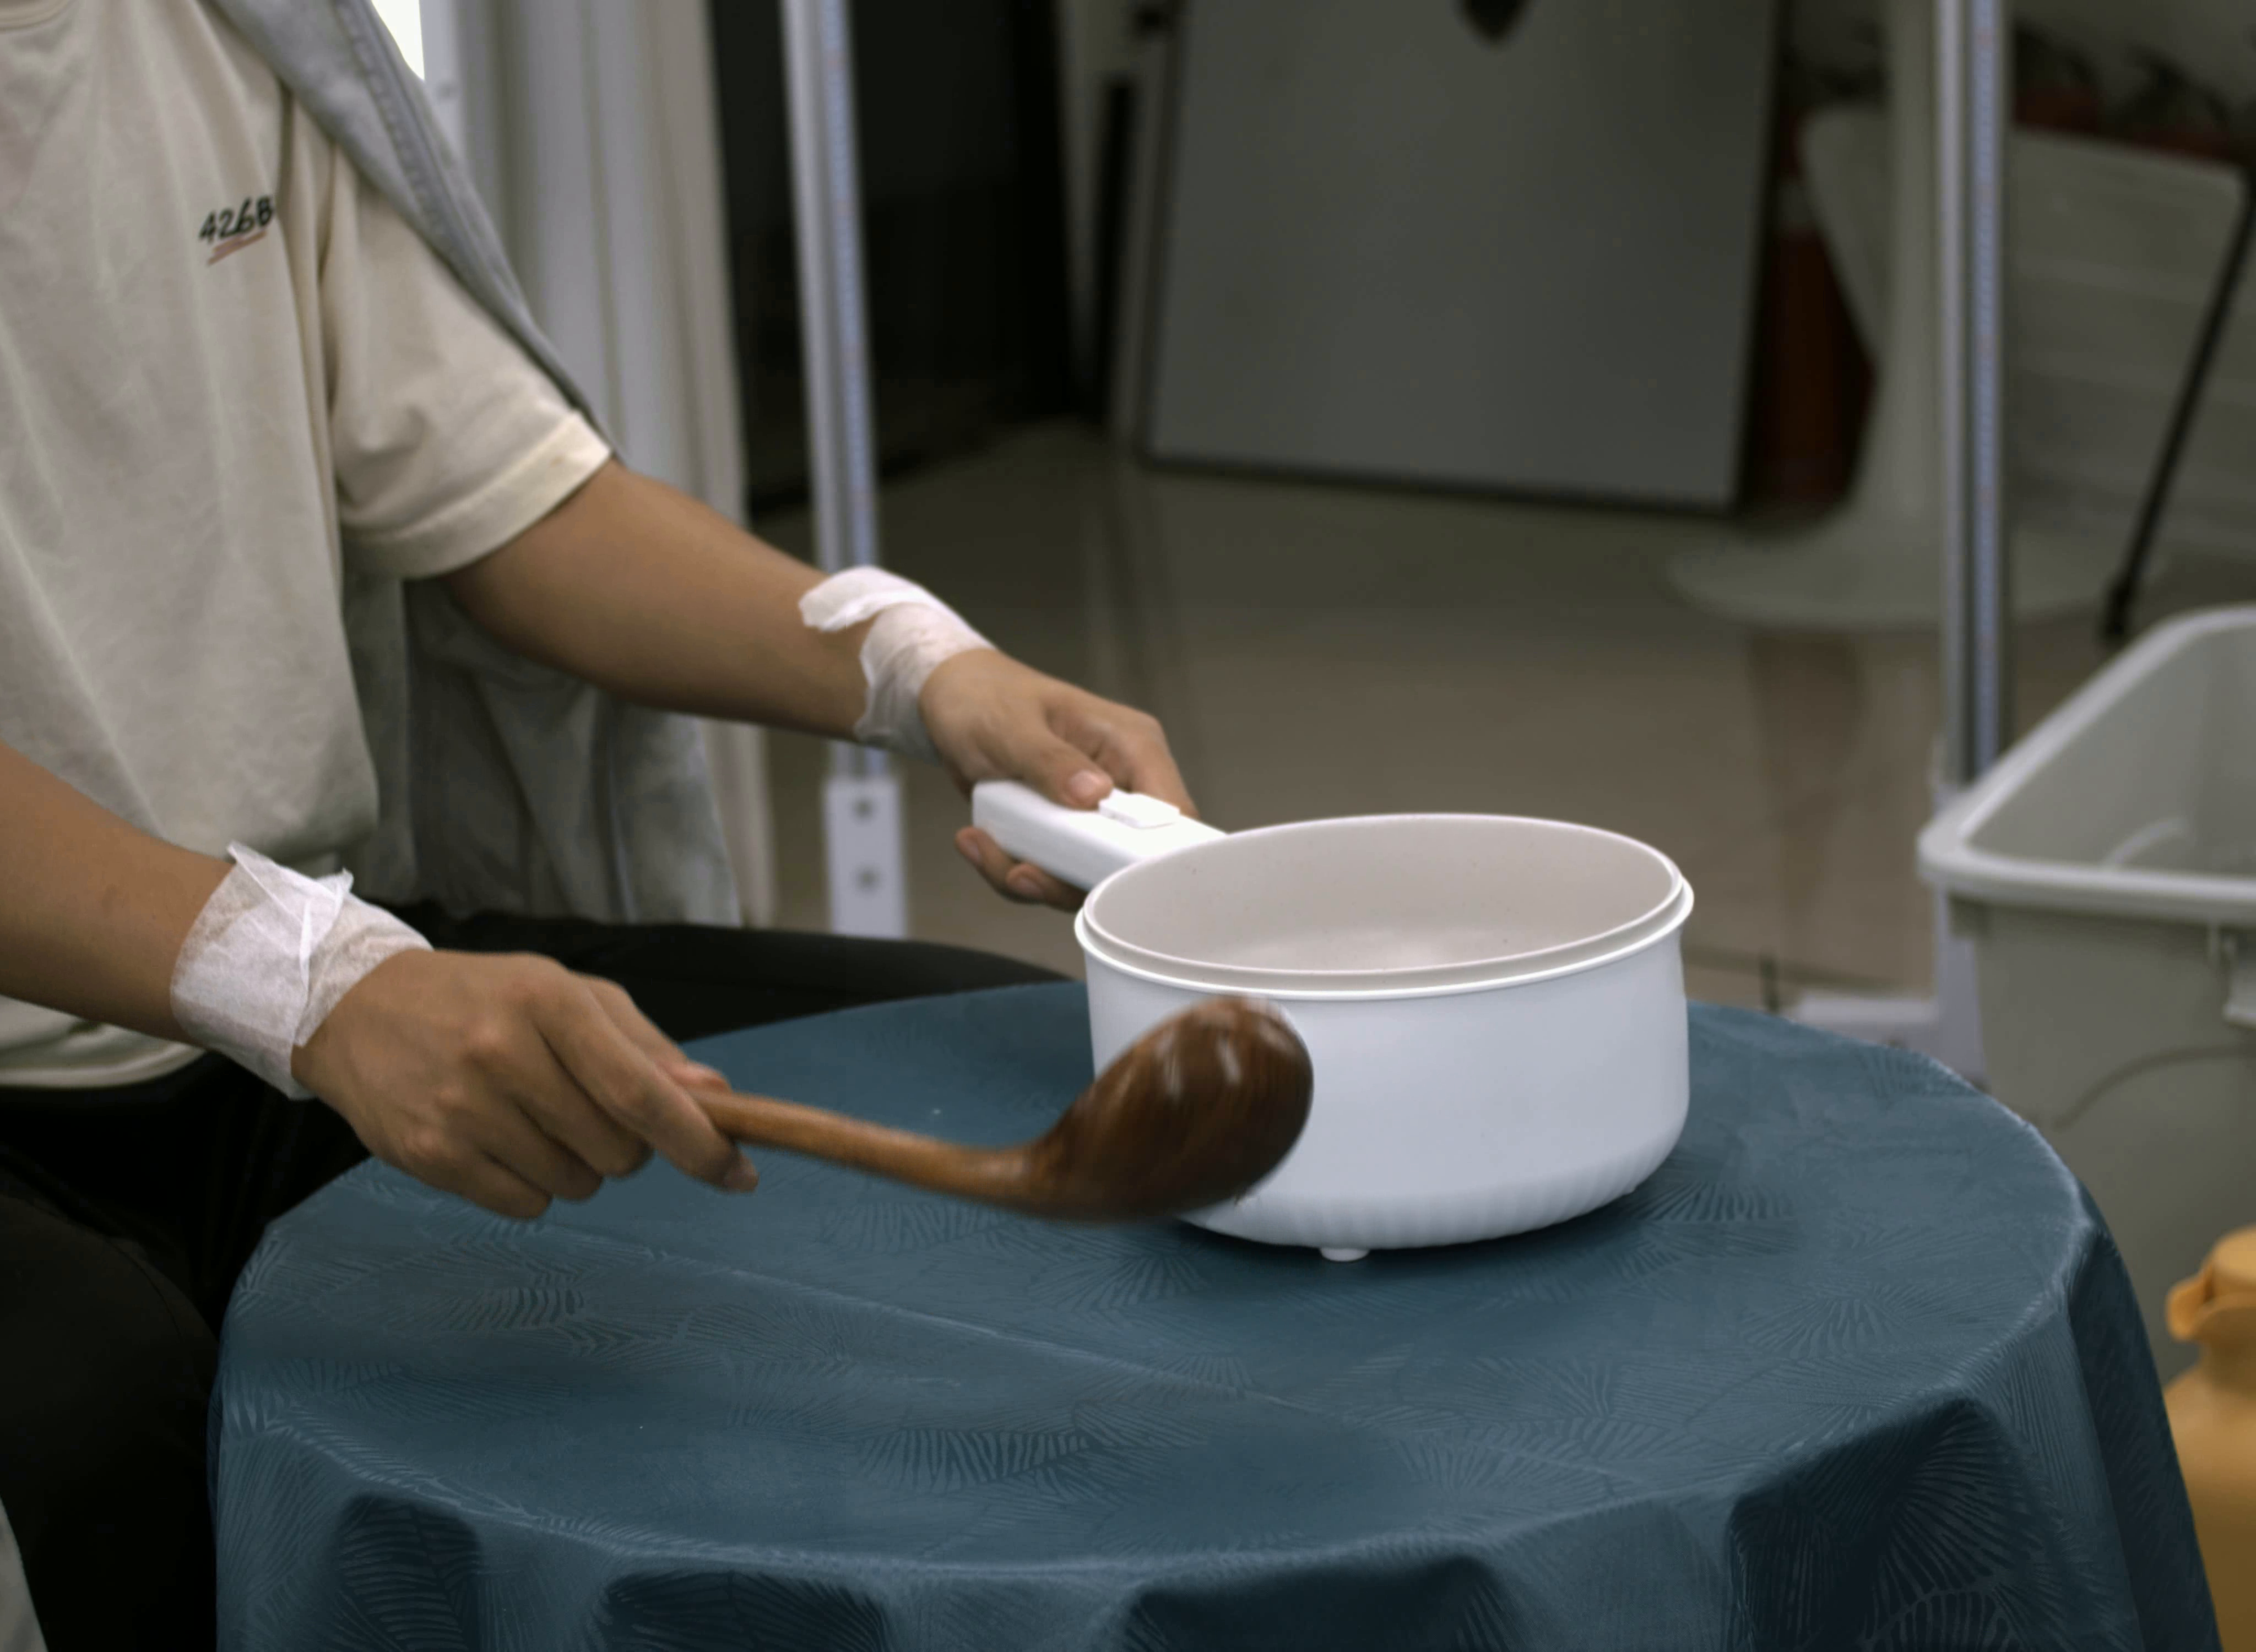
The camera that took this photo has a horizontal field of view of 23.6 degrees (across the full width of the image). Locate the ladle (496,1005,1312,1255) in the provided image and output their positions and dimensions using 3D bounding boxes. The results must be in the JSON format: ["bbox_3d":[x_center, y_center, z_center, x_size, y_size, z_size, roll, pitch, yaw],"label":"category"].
[{"bbox_3d":[-0.070,0.078,1.605,0.276,0.077,0.081,8,-27,36],"label":"ladle"}]

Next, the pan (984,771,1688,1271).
[{"bbox_3d":[0.048,0.058,1.817,0.197,0.103,0.358,-12,15,-26],"label":"pan"}]
